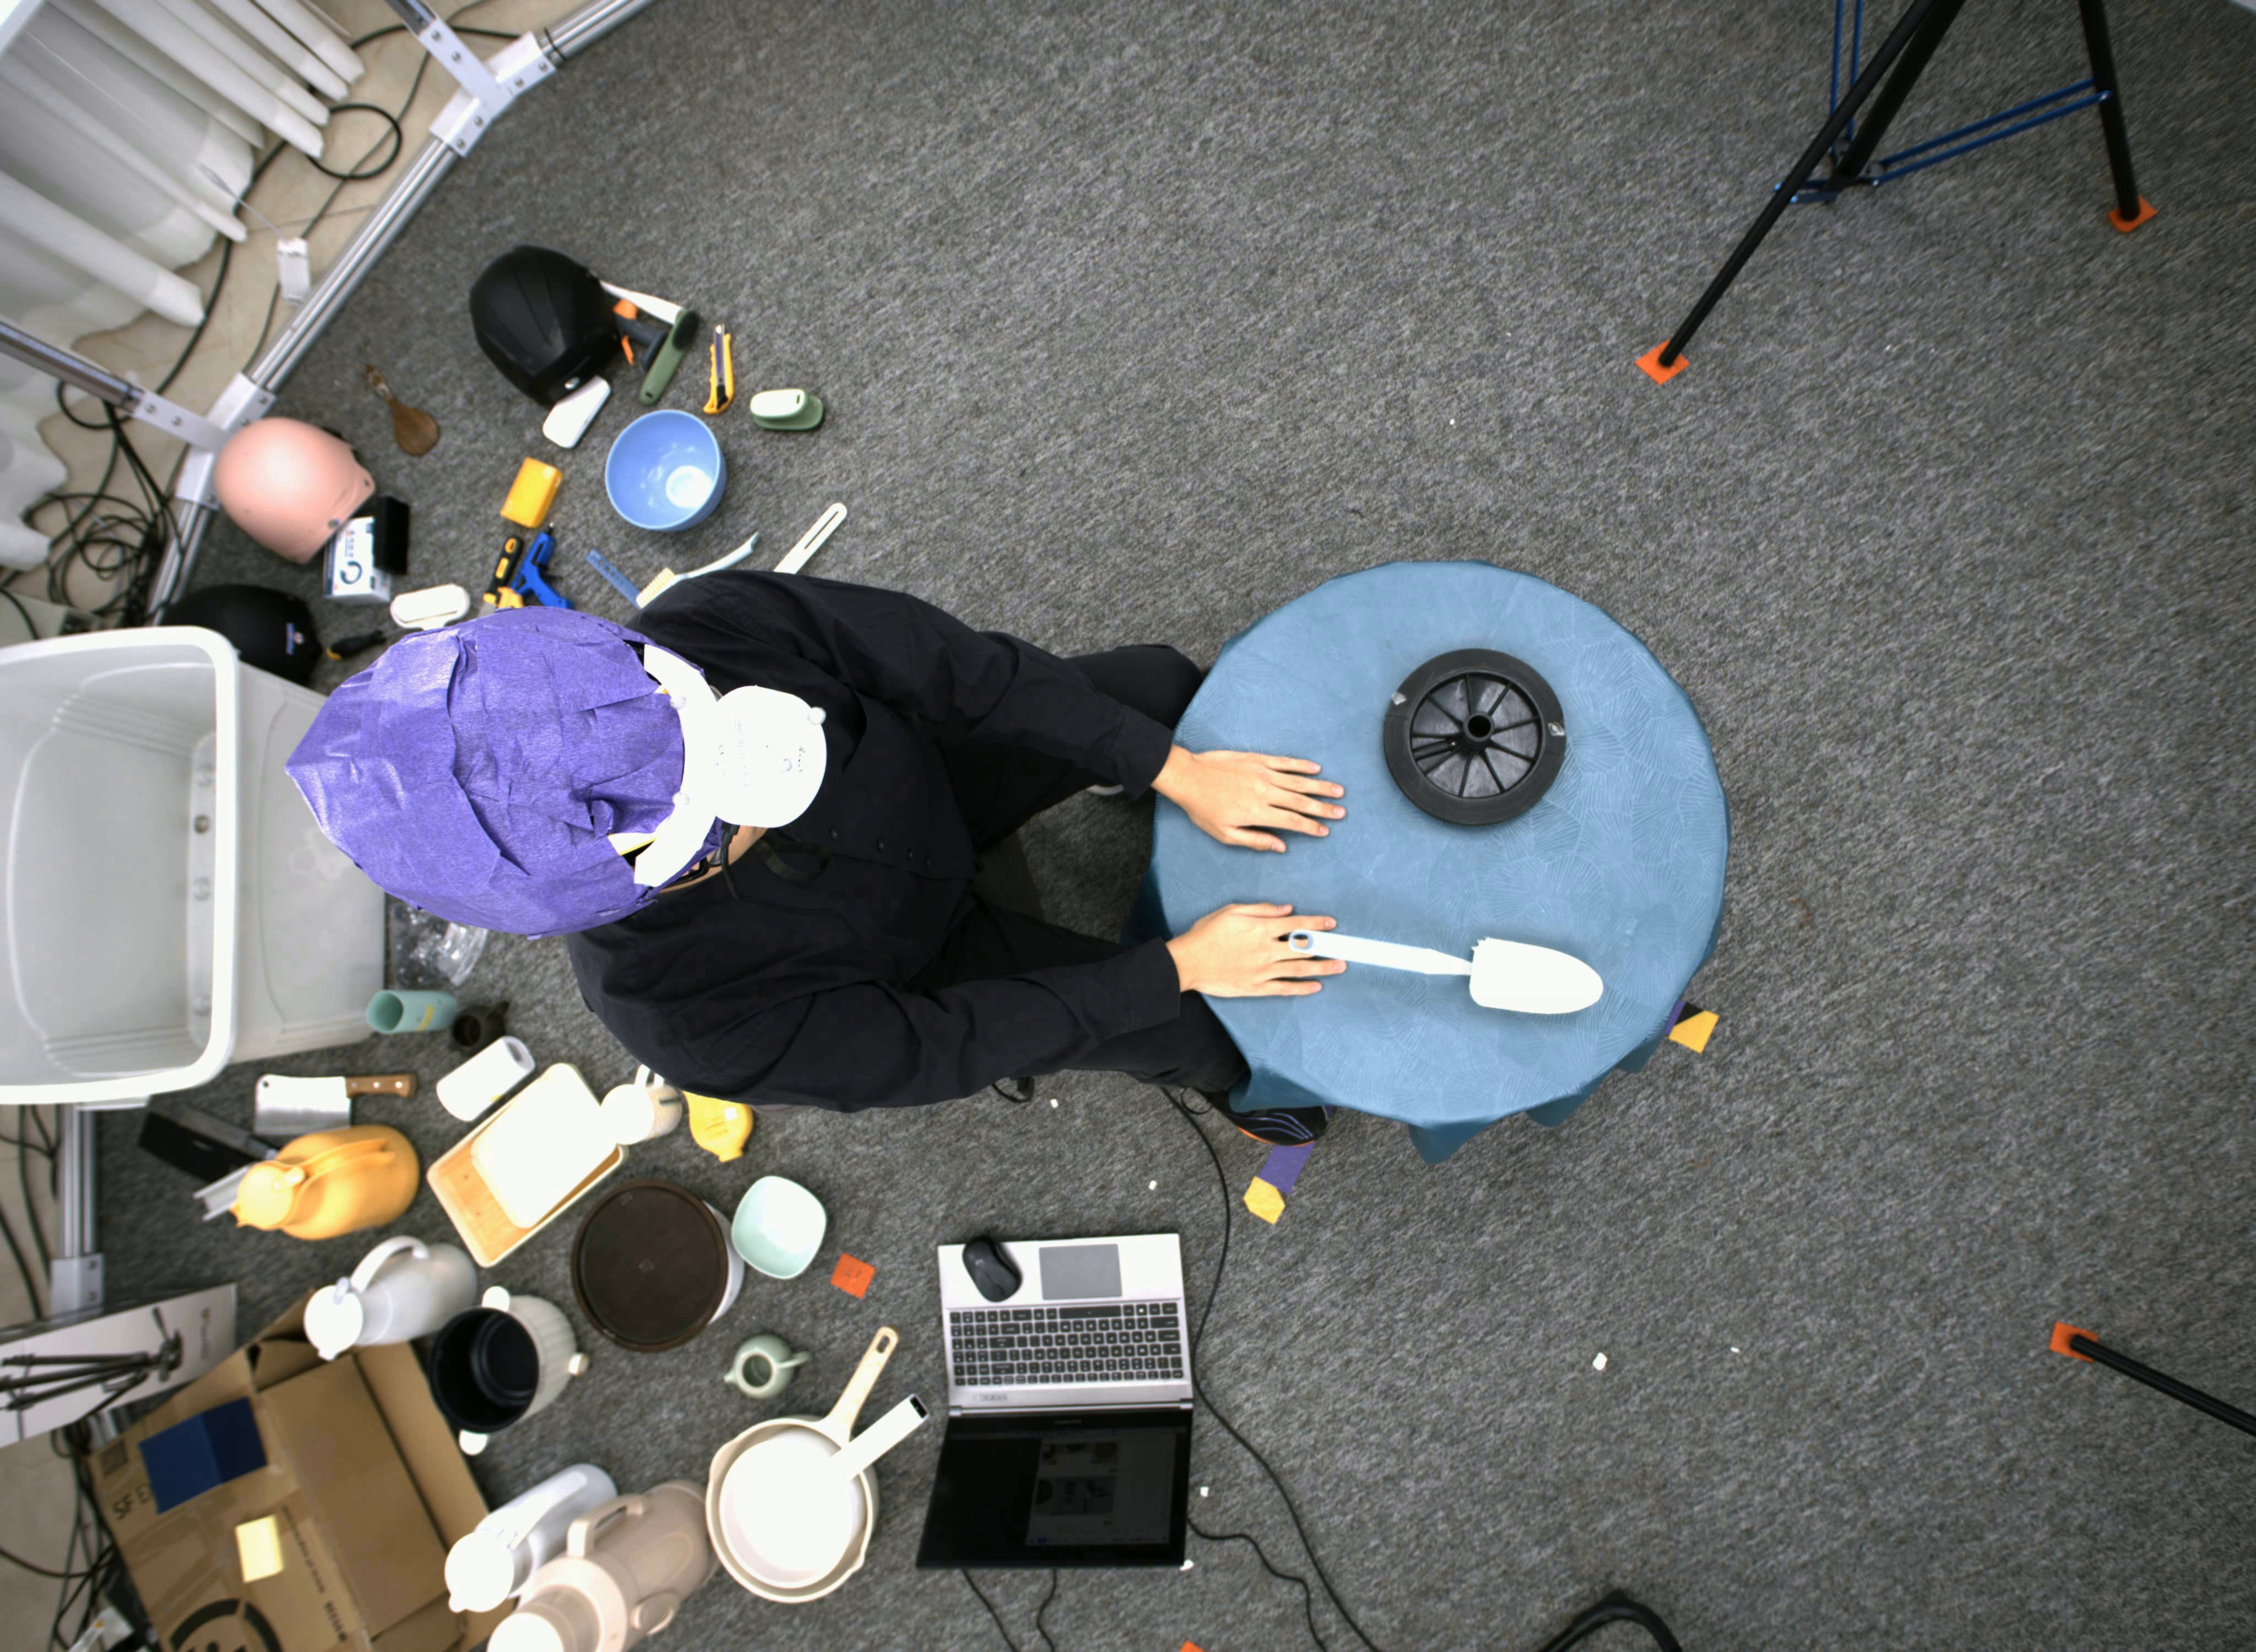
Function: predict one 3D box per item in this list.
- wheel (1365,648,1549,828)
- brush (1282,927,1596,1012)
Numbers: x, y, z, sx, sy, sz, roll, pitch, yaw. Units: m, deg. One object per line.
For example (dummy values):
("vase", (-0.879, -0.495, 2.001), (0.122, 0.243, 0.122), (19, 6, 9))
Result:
("wheel", (0.340, -0.096, 1.412), (0.188, 0.079, 0.189), (-18, 85, 8))
("brush", (0.313, 0.133, 1.405), (0.326, 0.087, 0.081), (9, 50, -1))
